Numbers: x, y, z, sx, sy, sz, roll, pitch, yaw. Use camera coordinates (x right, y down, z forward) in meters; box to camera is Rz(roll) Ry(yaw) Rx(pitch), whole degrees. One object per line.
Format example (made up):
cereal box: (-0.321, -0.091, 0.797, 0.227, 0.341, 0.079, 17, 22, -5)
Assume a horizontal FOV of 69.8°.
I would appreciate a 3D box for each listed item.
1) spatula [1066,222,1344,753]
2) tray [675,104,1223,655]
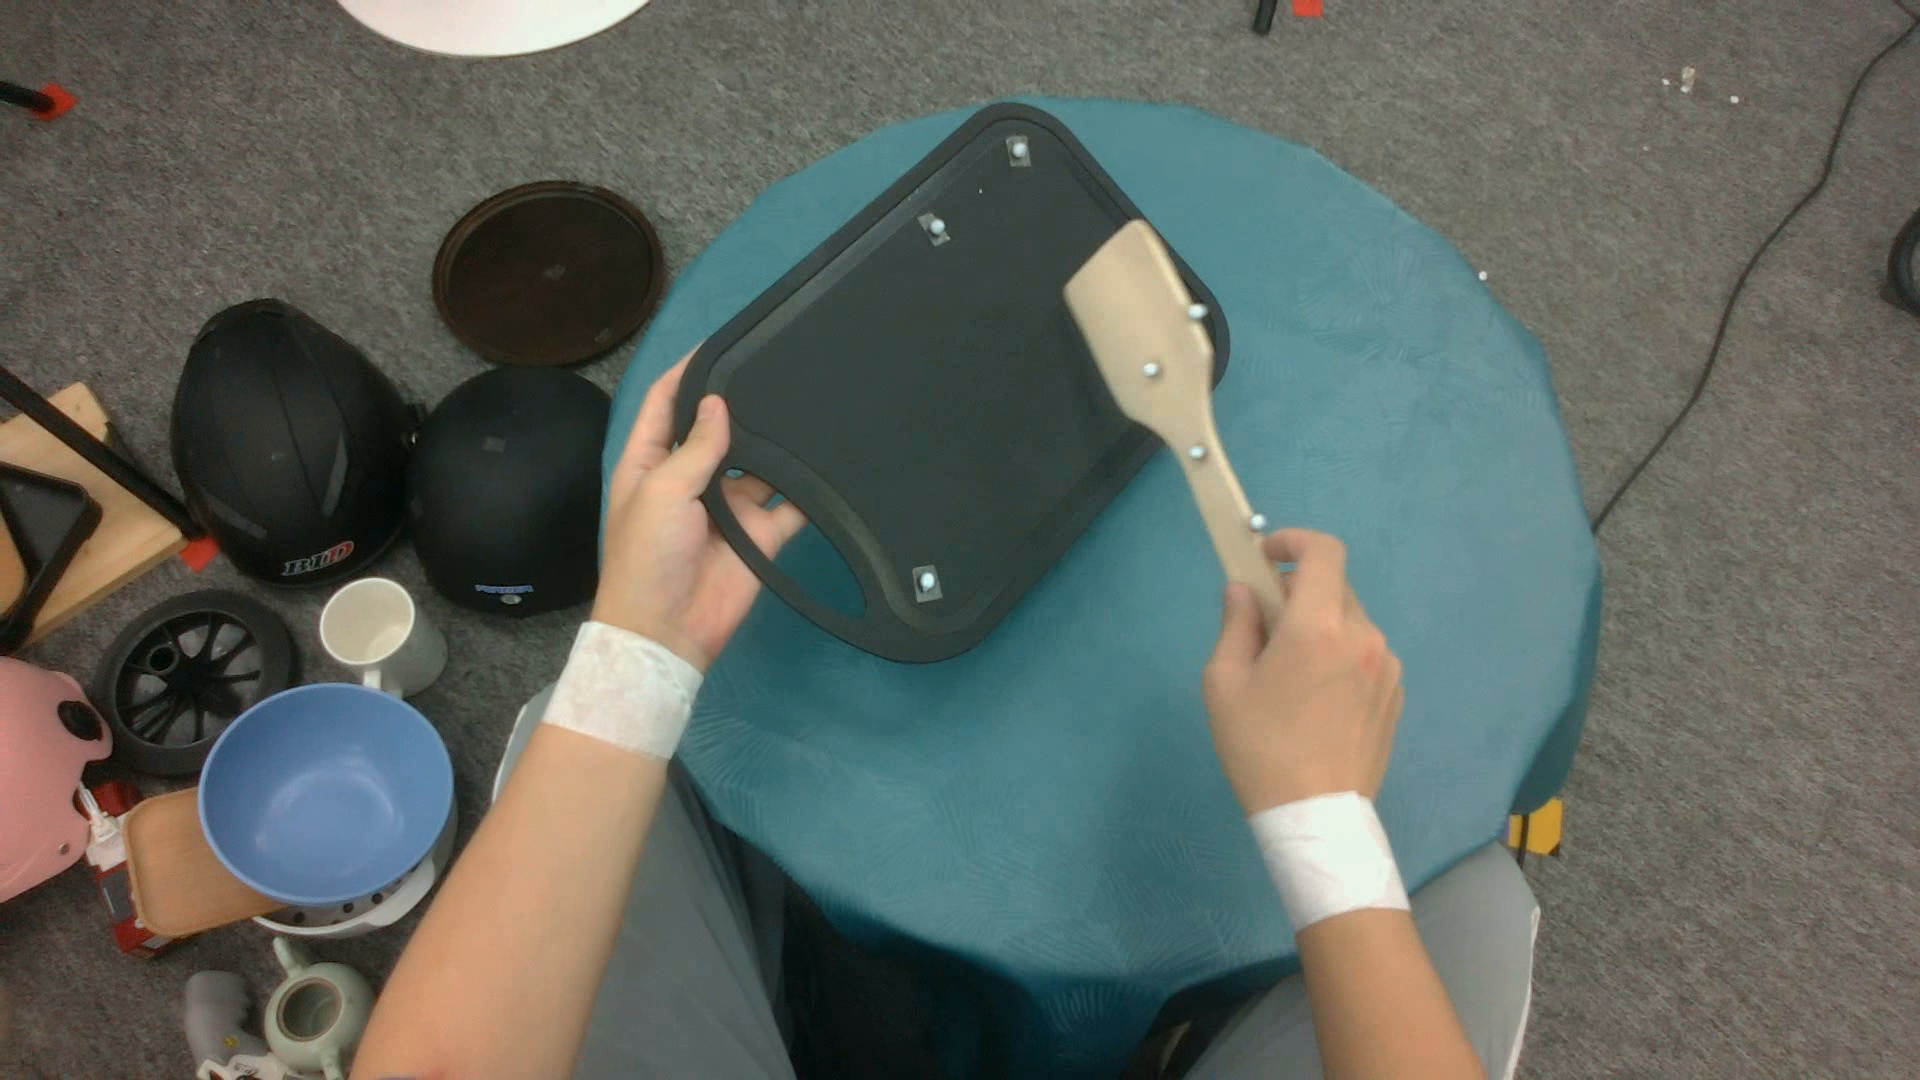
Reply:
spatula: (0.131, -0.028, 0.719, 0.011, 0.072, 0.293, -8, 70, -39)
tray: (0.003, -0.092, 0.759, 0.211, 0.010, 0.326, 46, 66, -6)
